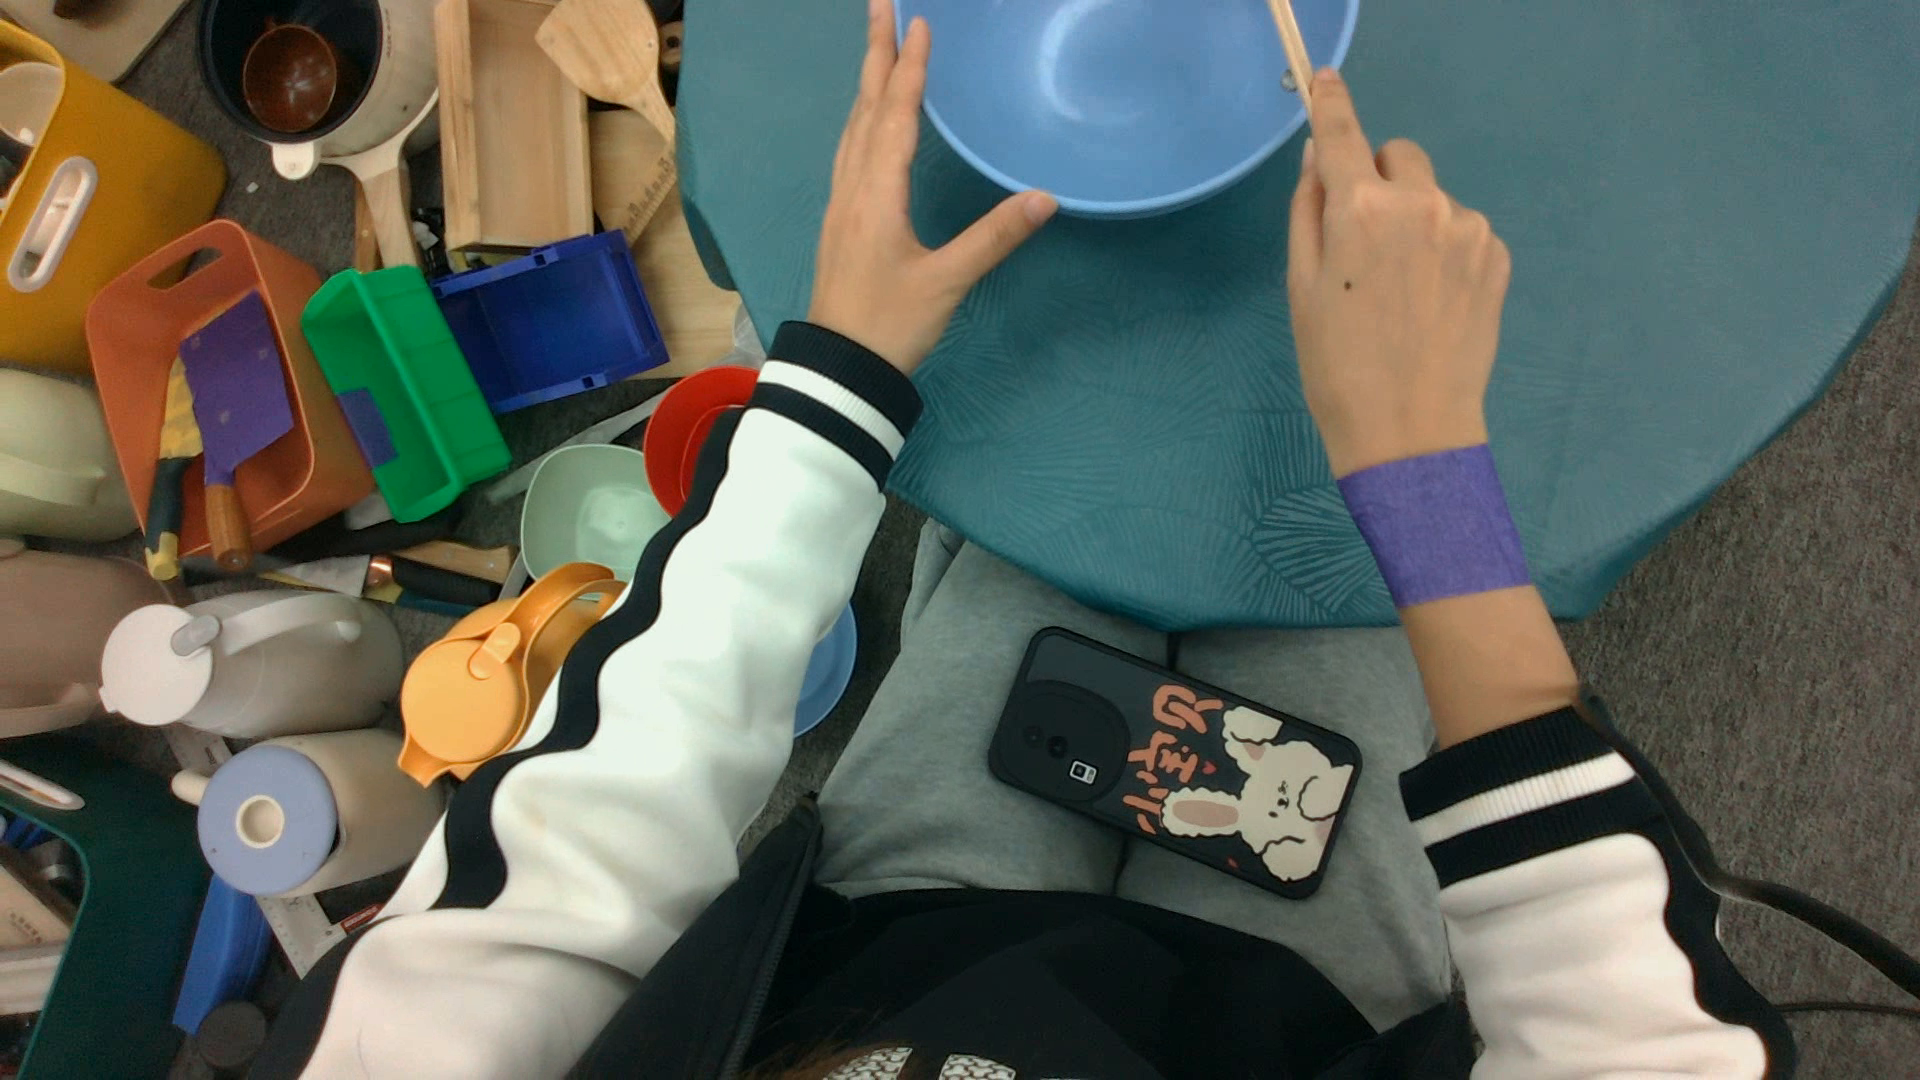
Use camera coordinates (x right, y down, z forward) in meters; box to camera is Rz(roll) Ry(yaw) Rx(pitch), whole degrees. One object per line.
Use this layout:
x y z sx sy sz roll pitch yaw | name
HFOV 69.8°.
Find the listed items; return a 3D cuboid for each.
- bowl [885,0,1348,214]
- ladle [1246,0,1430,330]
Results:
0.070 -0.234 0.628 0.196 0.095 0.196 0 86 5 | bowl
0.105 -0.177 0.556 0.072 0.072 0.255 -29 70 32 | ladle
